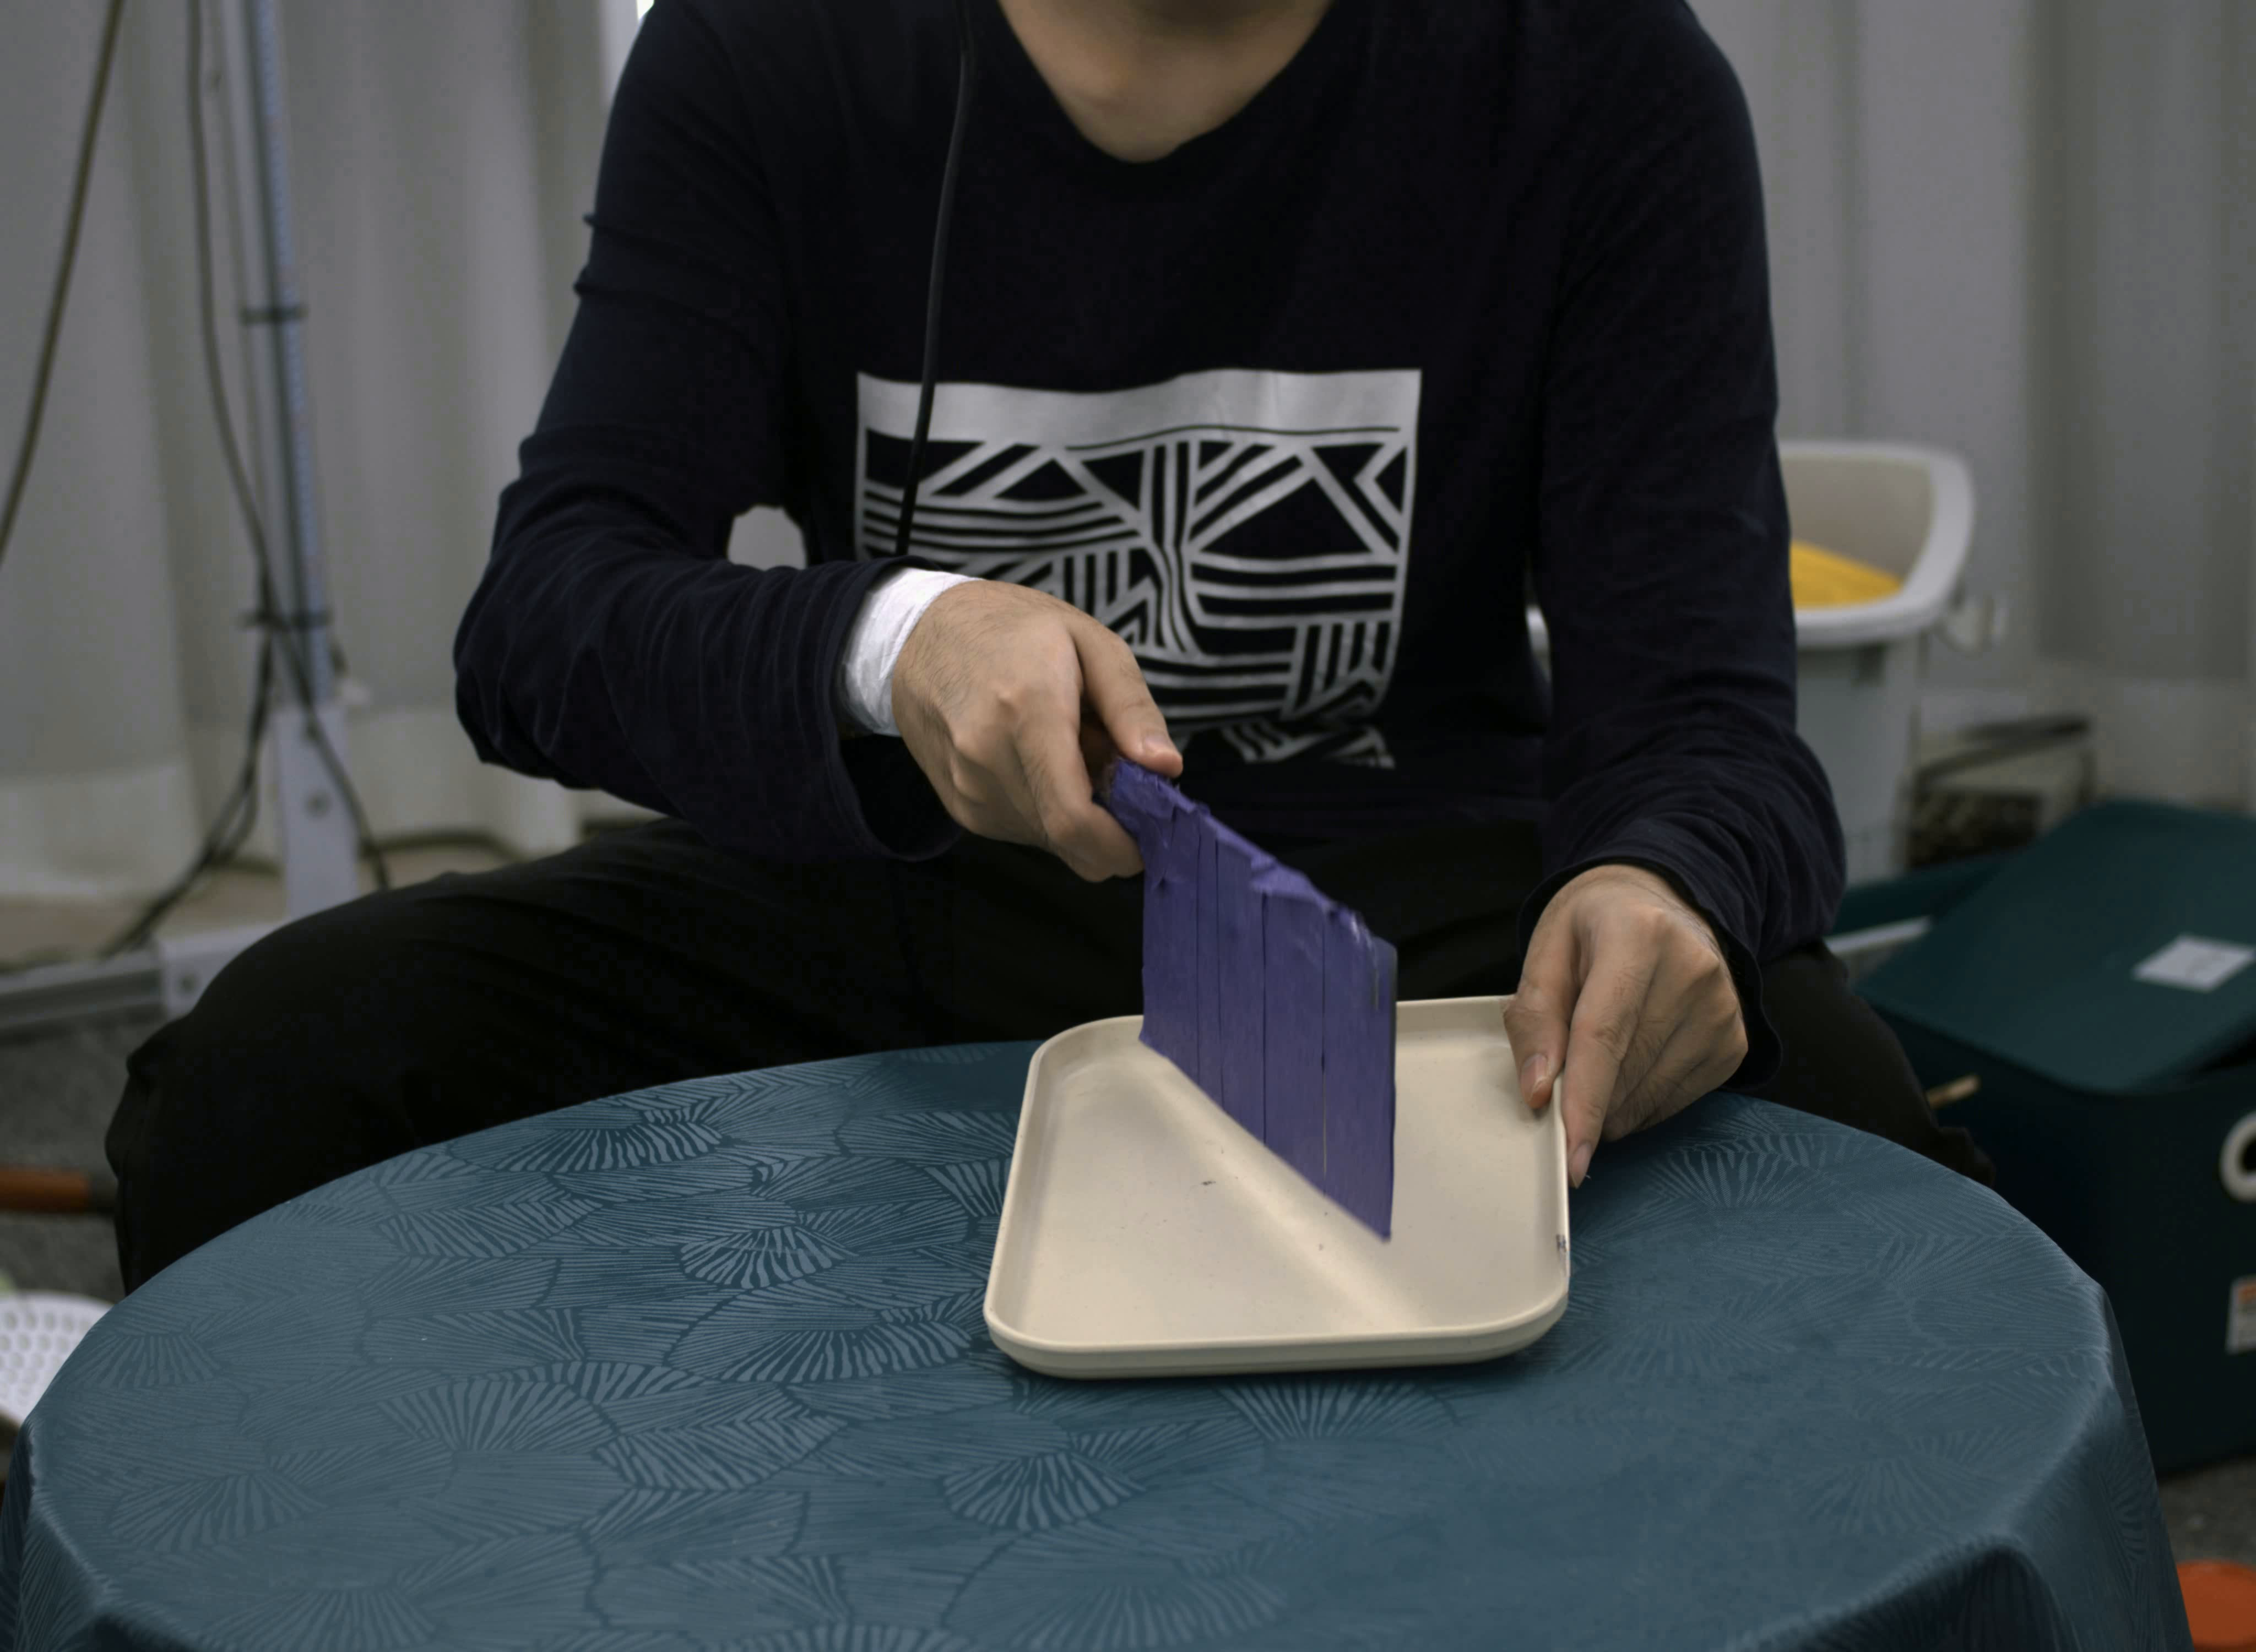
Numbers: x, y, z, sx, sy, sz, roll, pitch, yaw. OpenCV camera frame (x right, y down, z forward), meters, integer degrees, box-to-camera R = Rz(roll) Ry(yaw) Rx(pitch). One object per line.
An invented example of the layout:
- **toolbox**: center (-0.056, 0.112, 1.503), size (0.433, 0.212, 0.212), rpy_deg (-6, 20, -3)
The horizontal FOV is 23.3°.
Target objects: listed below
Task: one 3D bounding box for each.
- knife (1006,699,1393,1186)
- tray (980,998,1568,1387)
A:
- **knife**: center (0.019, 0.034, 1.684), size (0.032, 0.103, 0.317), rpy_deg (-2, 13, -17)
- **tray**: center (0.047, 0.109, 1.650), size (0.171, 0.017, 0.242), rpy_deg (-4, 21, 6)
